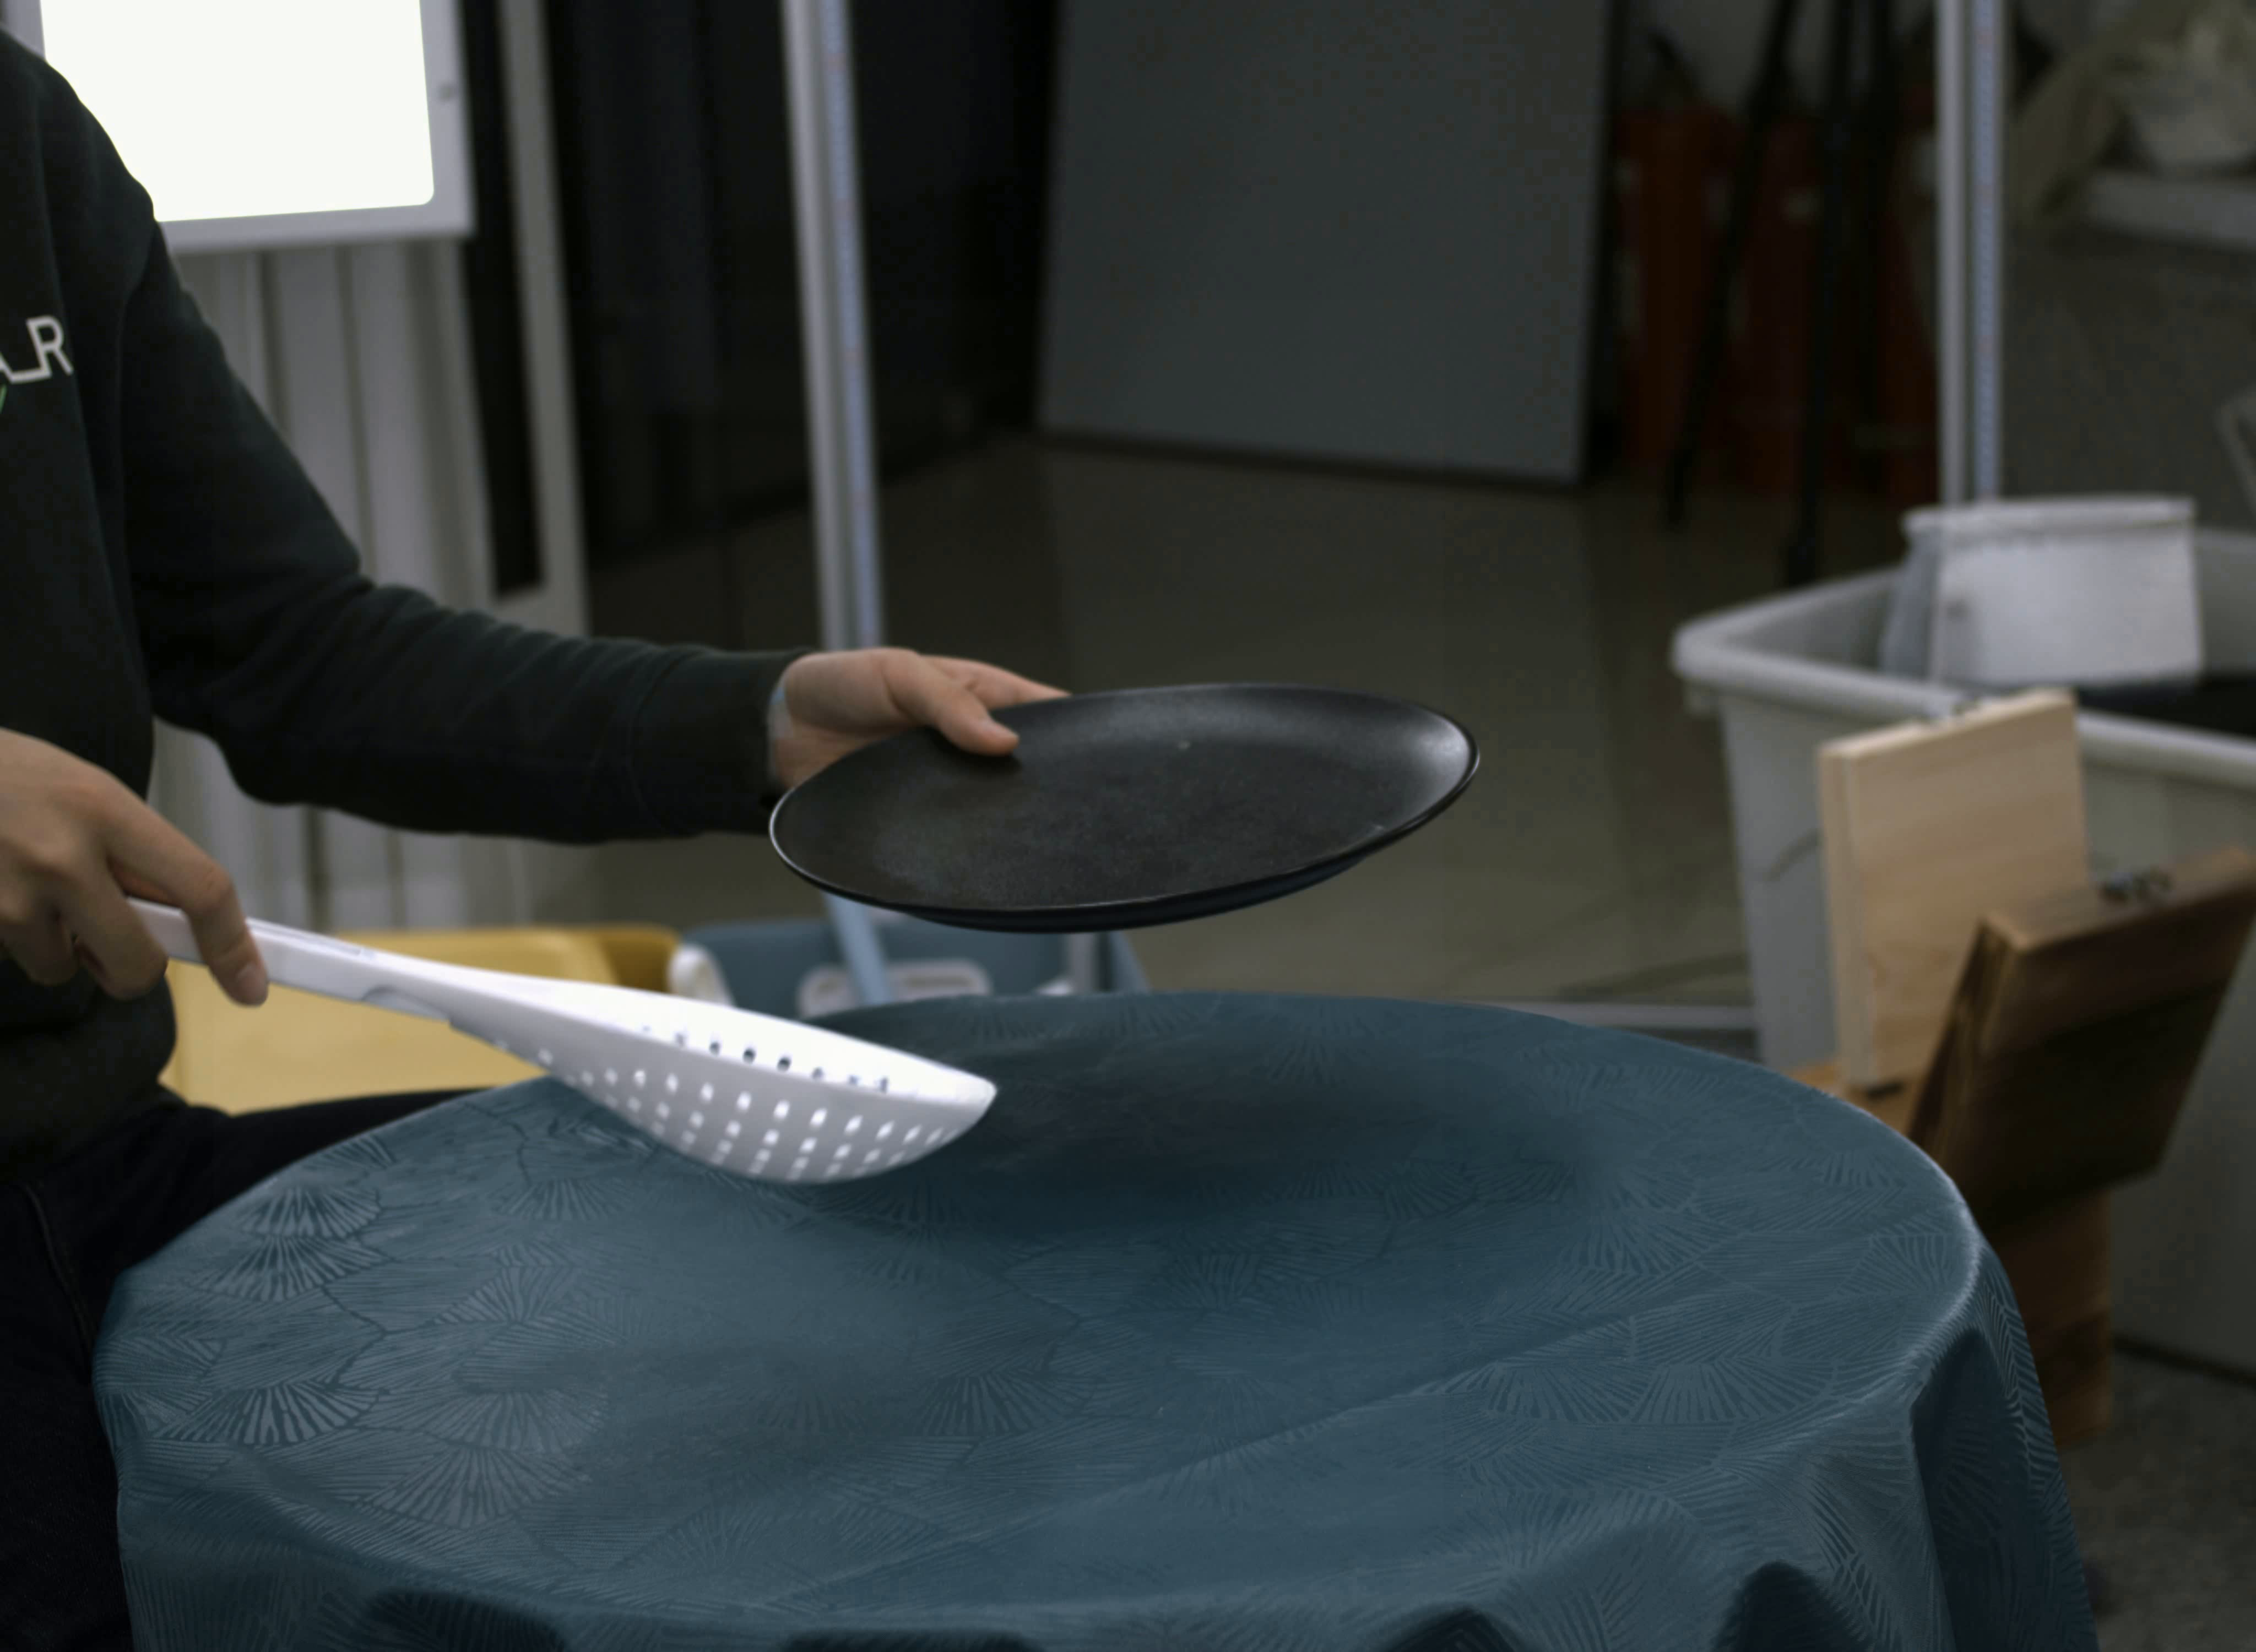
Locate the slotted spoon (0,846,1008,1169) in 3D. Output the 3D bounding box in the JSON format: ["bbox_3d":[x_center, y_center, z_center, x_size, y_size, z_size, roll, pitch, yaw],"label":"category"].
[{"bbox_3d":[-0.205,0.041,1.556,0.345,0.046,0.136,18,0,-7],"label":"slotted spoon"}]

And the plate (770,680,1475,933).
[{"bbox_3d":[-0.001,-0.004,1.827,0.241,0.023,0.245,-7,17,1],"label":"plate"}]
